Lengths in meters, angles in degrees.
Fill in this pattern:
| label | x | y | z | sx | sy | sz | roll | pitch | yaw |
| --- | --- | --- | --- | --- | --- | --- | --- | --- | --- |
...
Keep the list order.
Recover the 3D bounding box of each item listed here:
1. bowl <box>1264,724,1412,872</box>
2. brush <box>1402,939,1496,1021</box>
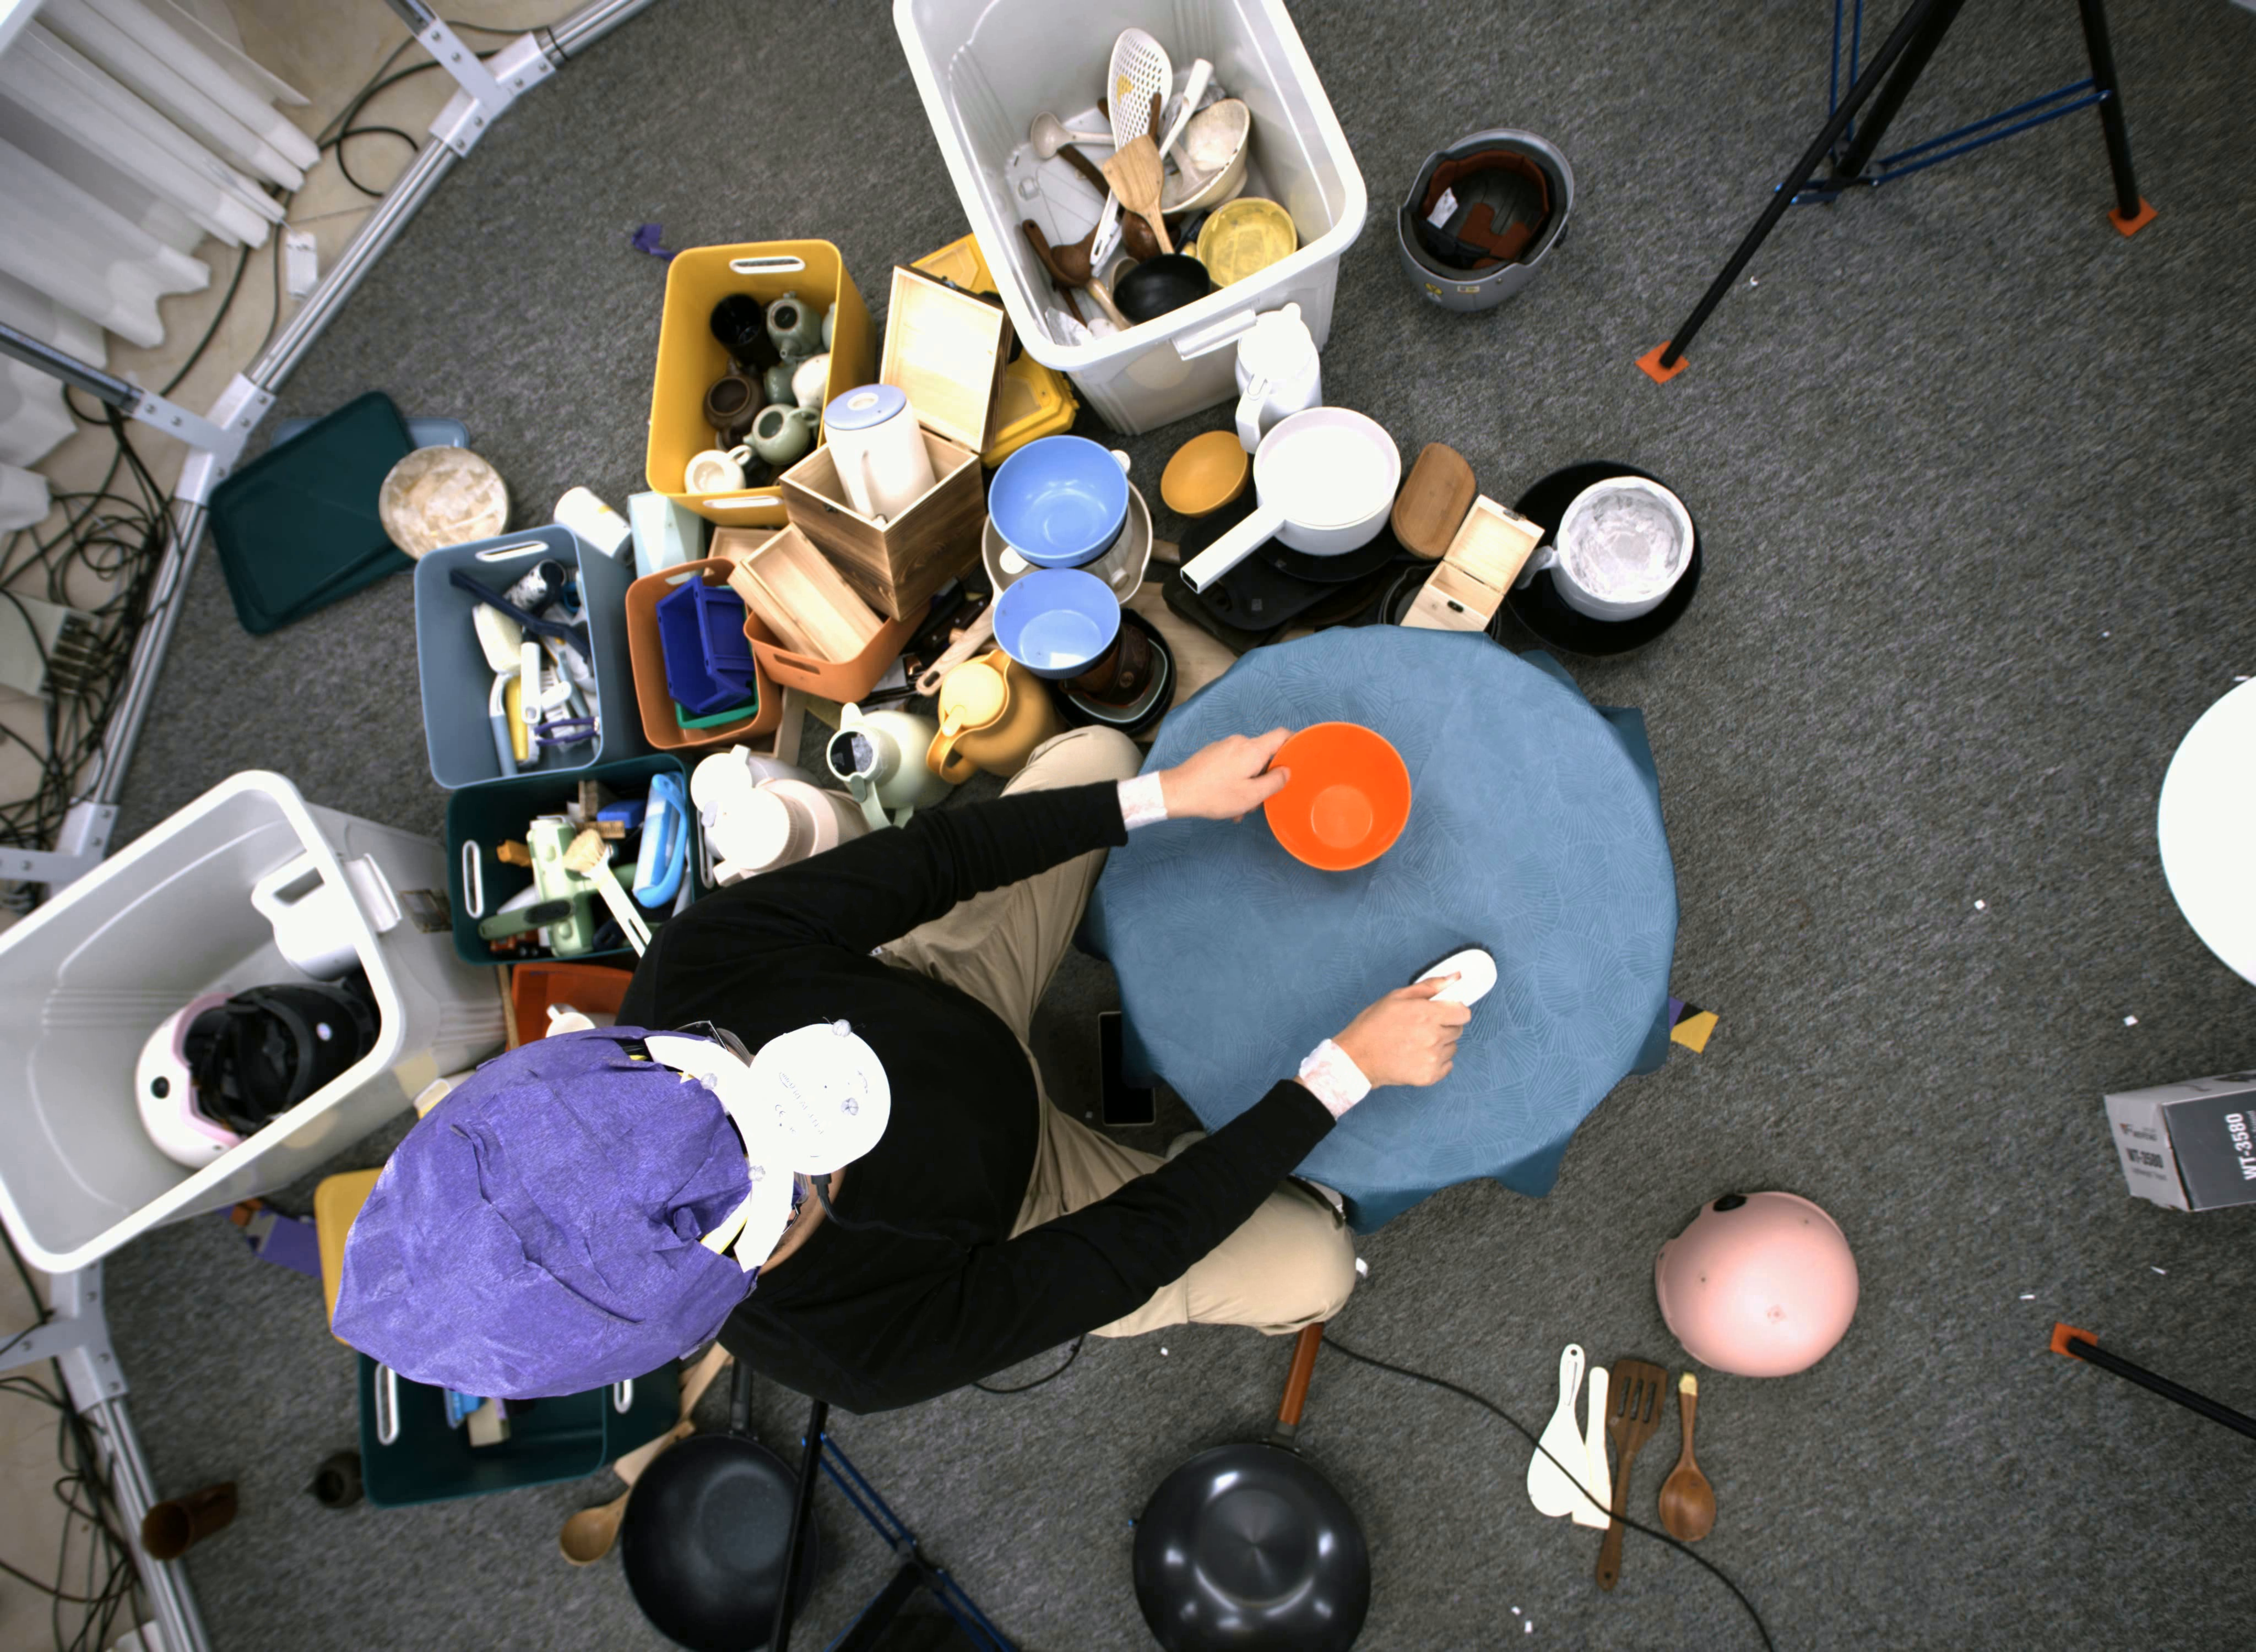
| label | x | y | z | sx | sy | sz | roll | pitch | yaw |
| --- | --- | --- | --- | --- | --- | --- | --- | --- | --- |
| bowl | 0.219 | -0.025 | 1.426 | 0.149 | 0.104 | 0.147 | -1 | 87 | 13 |
| brush | 0.316 | 0.157 | 1.363 | 0.100 | 0.071 | 0.050 | -34 | 94 | 21 |
